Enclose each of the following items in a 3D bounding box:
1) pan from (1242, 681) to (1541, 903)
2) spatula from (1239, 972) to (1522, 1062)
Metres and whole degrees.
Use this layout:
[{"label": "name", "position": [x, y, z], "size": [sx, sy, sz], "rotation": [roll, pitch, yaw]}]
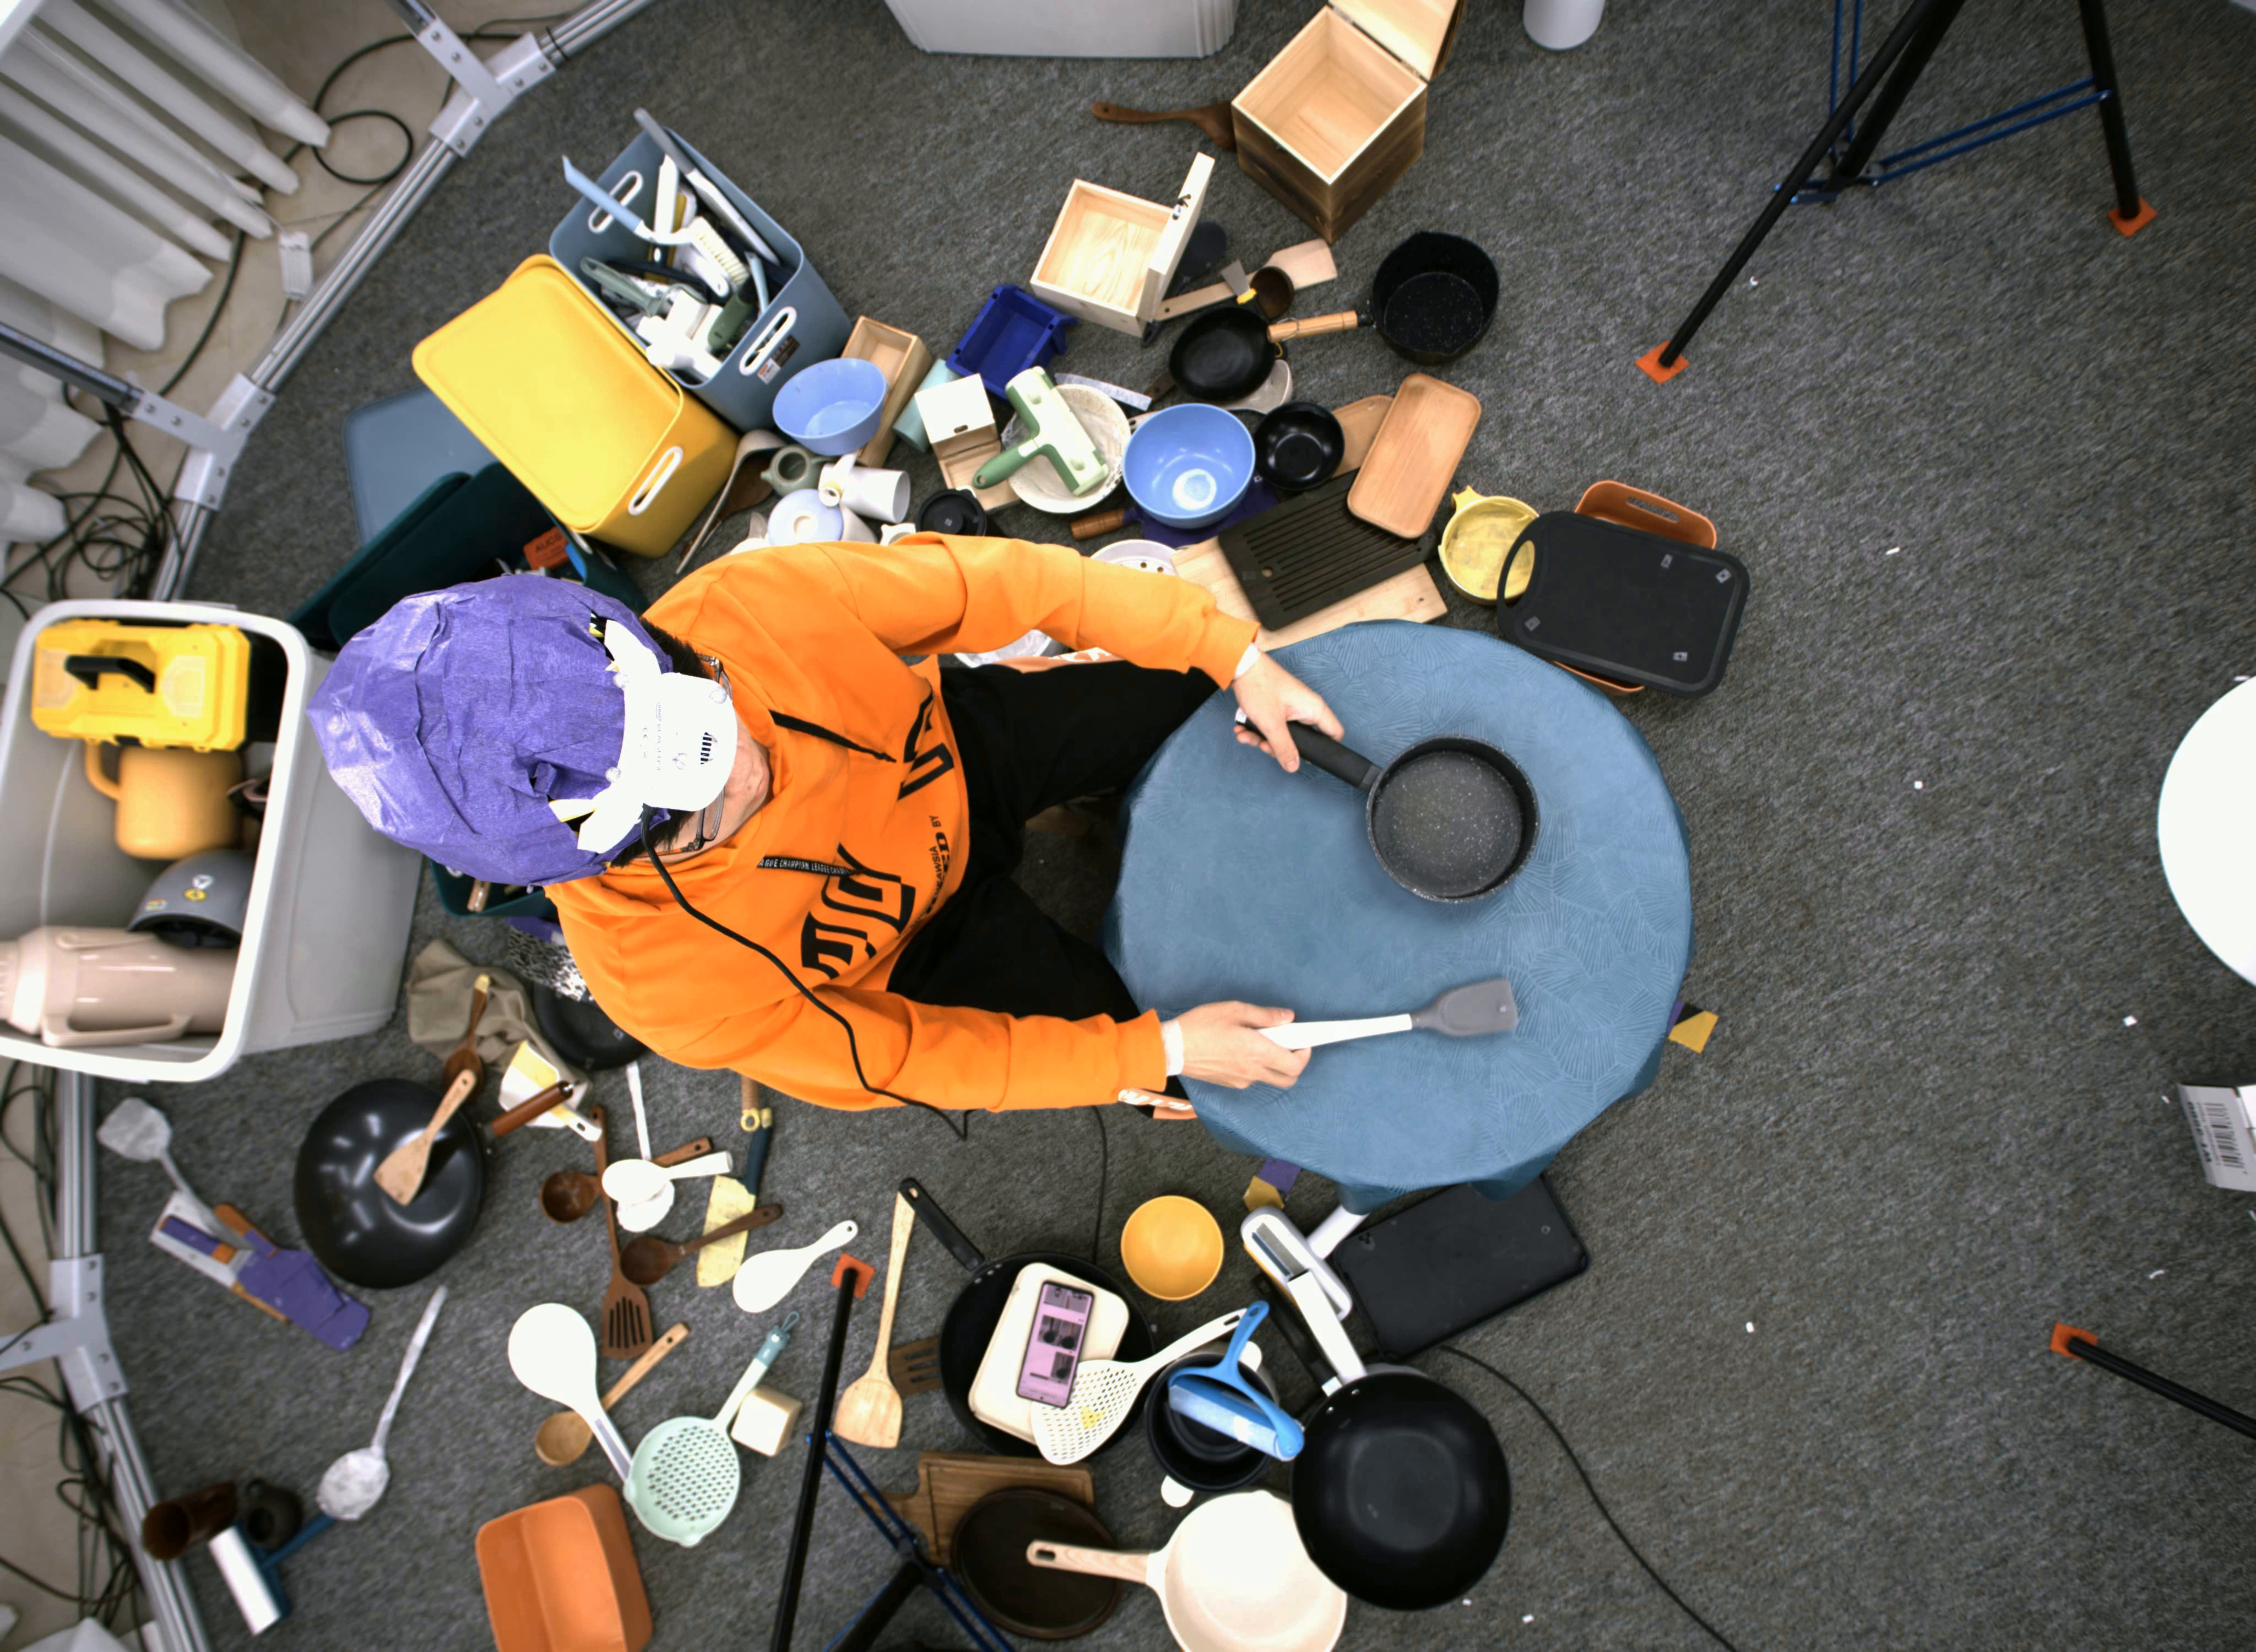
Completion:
[{"label": "pan", "position": [0.264, -0.047, 1.421], "size": [0.328, 0.086, 0.172], "rotation": [31, 91, 7]}, {"label": "spatula", "position": [0.259, 0.201, 1.424], "size": [0.288, 0.033, 0.057], "rotation": [-11, 62, 4]}]
